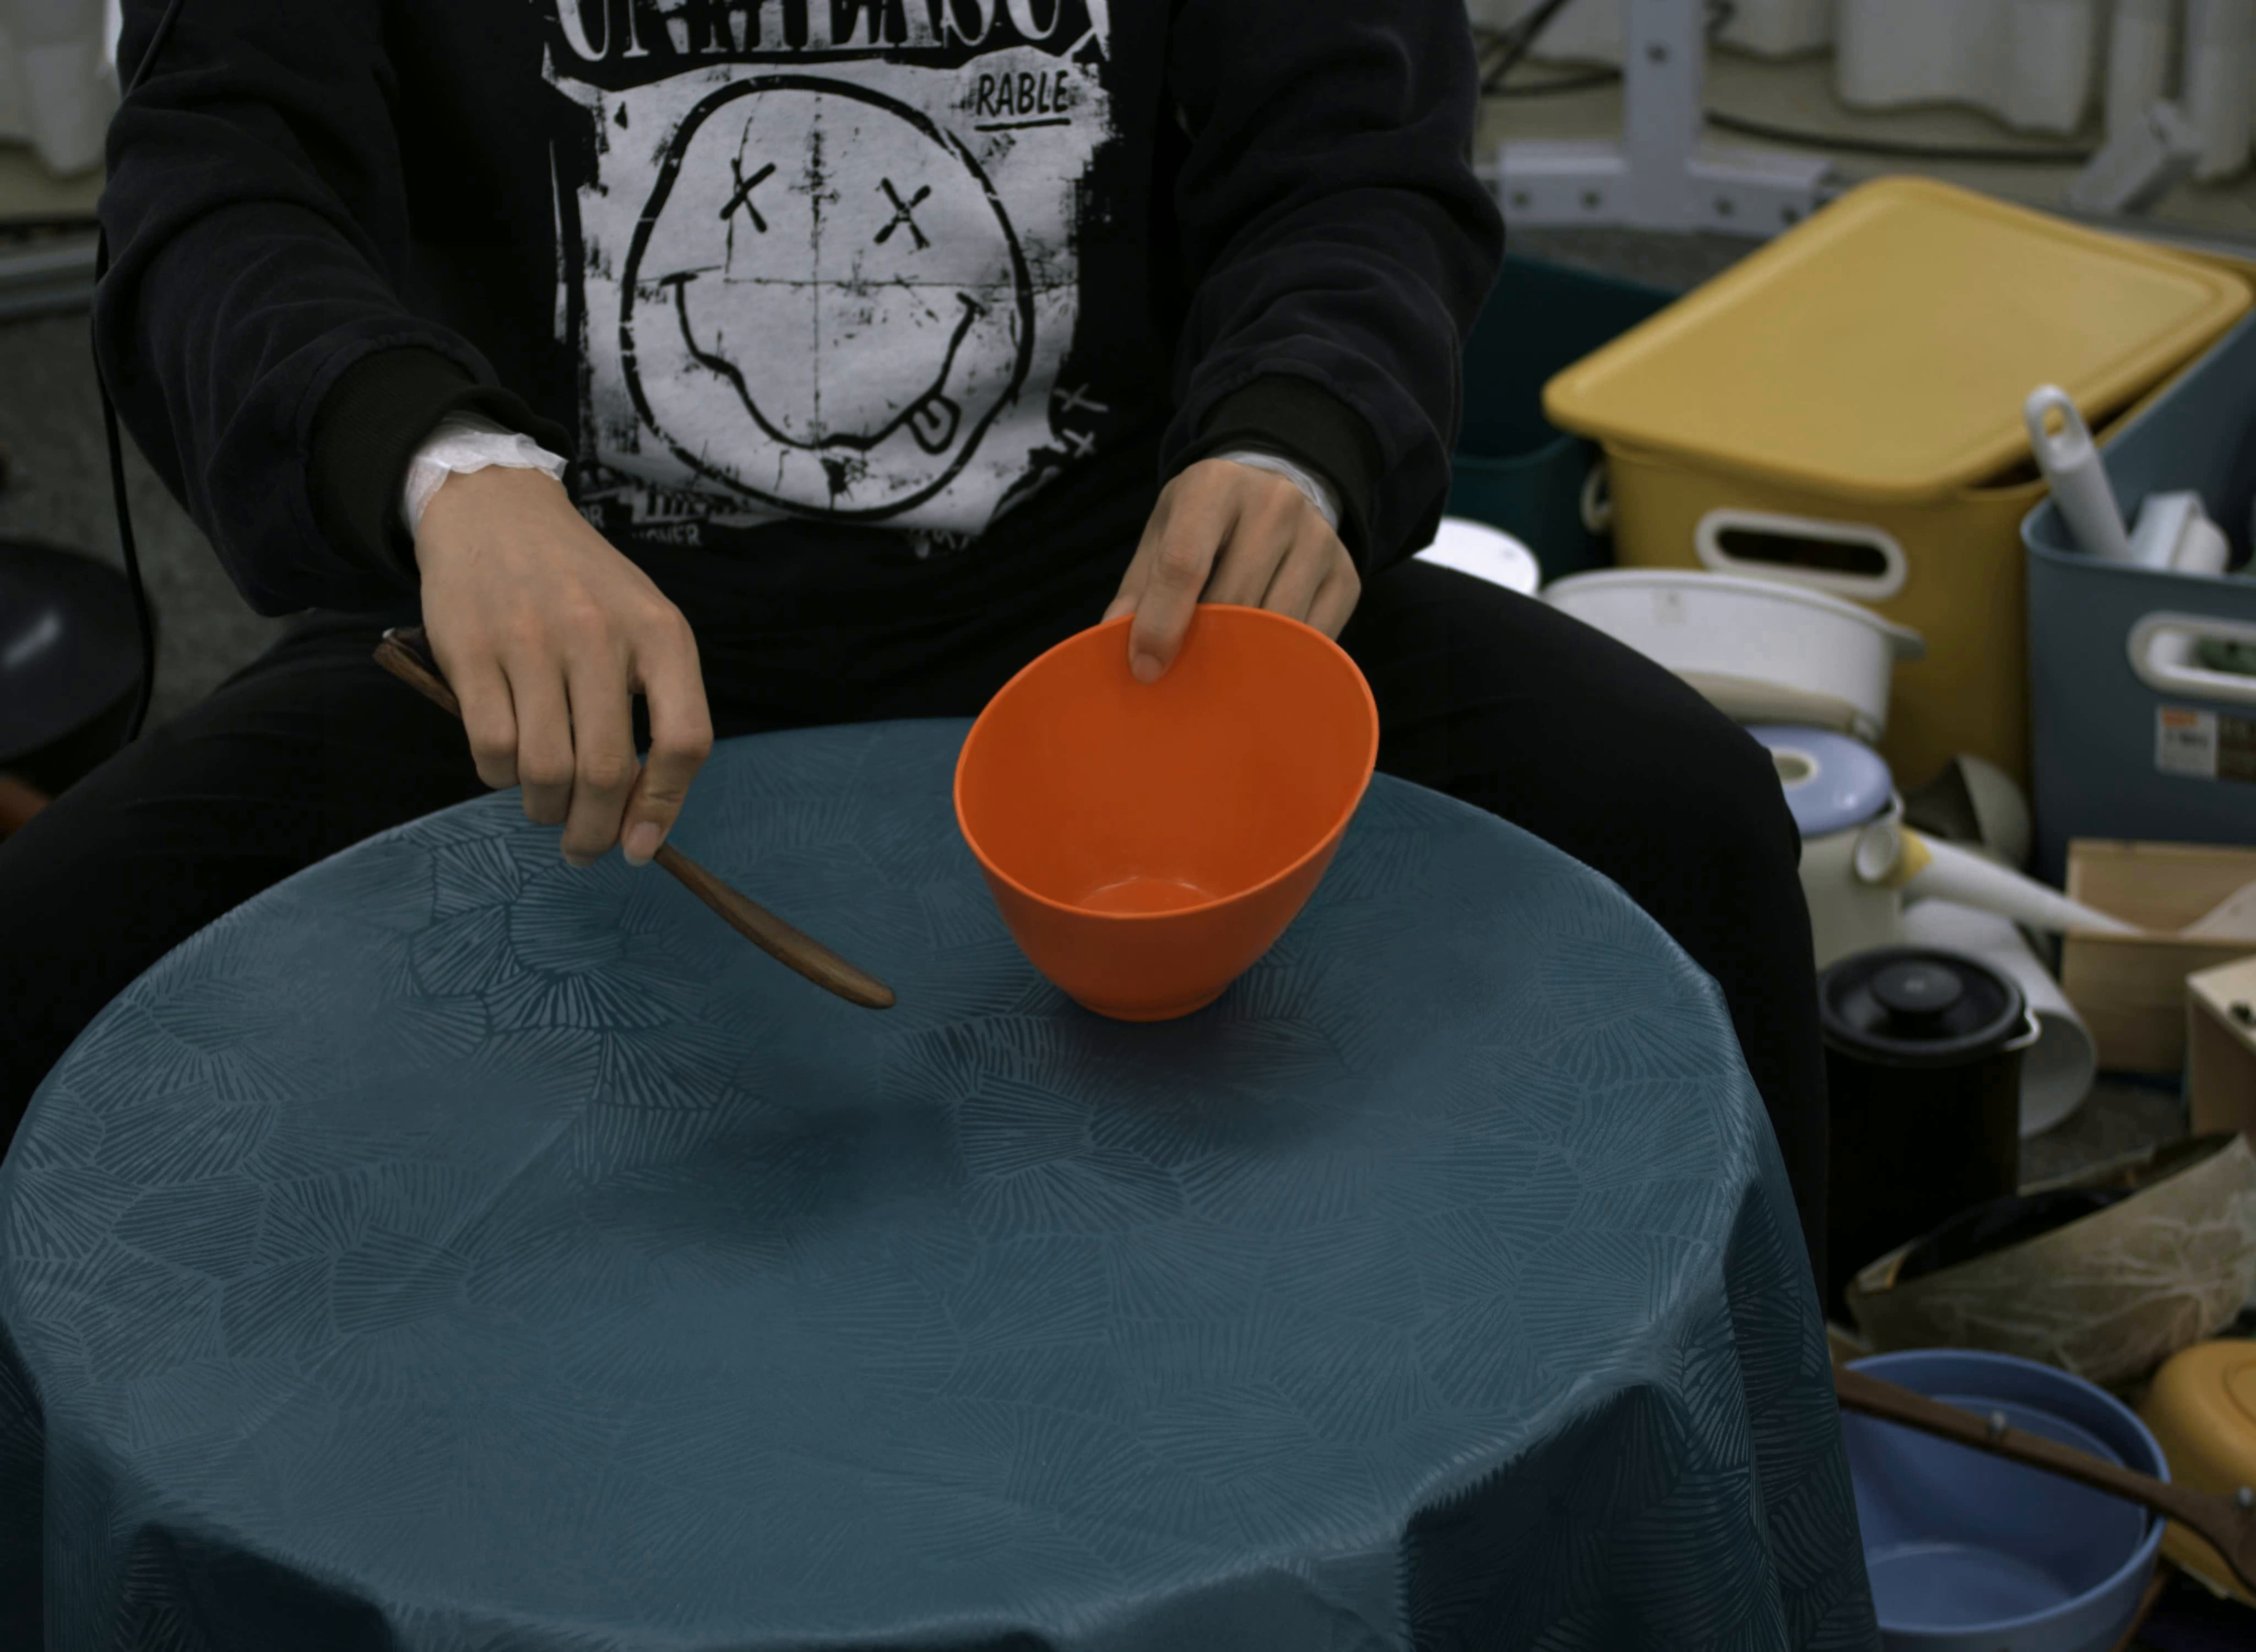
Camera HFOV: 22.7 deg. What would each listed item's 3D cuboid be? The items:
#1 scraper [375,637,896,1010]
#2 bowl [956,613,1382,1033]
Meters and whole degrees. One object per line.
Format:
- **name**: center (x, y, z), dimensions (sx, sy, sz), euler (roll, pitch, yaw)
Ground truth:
- **scraper**: center (-0.165, 0.001, 1.875), dimensions (0.211, 0.011, 0.076), euler (36, 0, -3)
- **bowl**: center (0.016, 0.009, 1.953), dimensions (0.147, 0.103, 0.151), euler (-1, 41, 1)
